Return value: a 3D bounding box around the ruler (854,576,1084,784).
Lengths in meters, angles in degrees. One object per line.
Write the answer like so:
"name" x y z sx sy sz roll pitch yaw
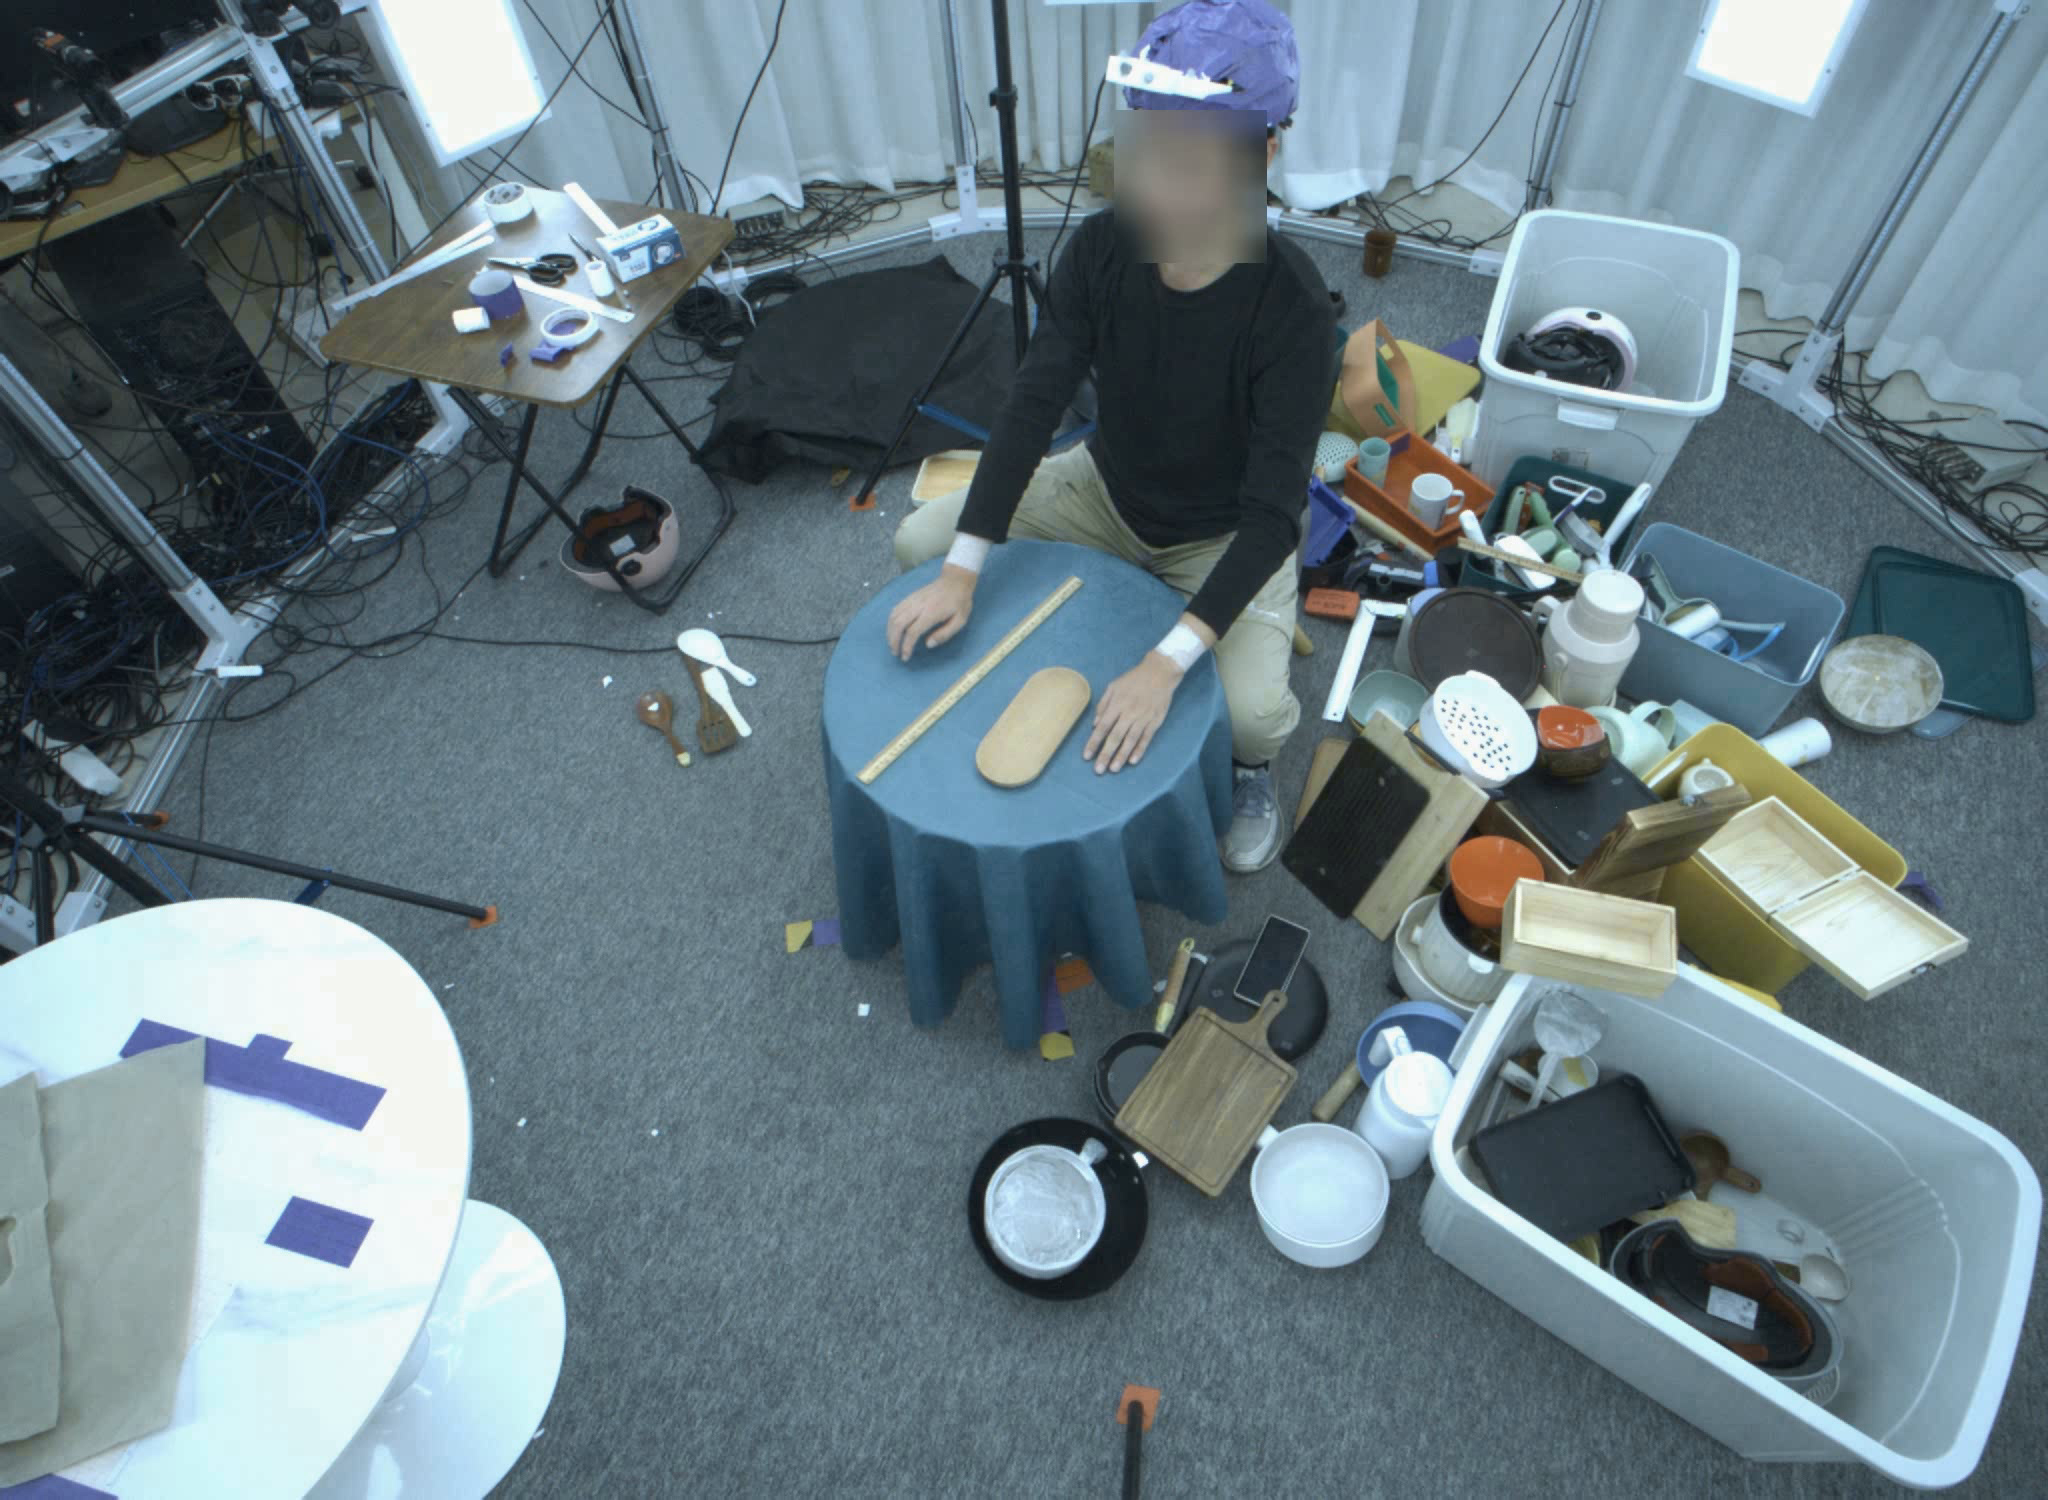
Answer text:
"ruler" -0.074 -0.116 1.869 0.026 0.006 0.503 35 63 22

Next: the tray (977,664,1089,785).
"tray" 0.015 -0.039 1.805 0.100 0.020 0.232 24 57 16
